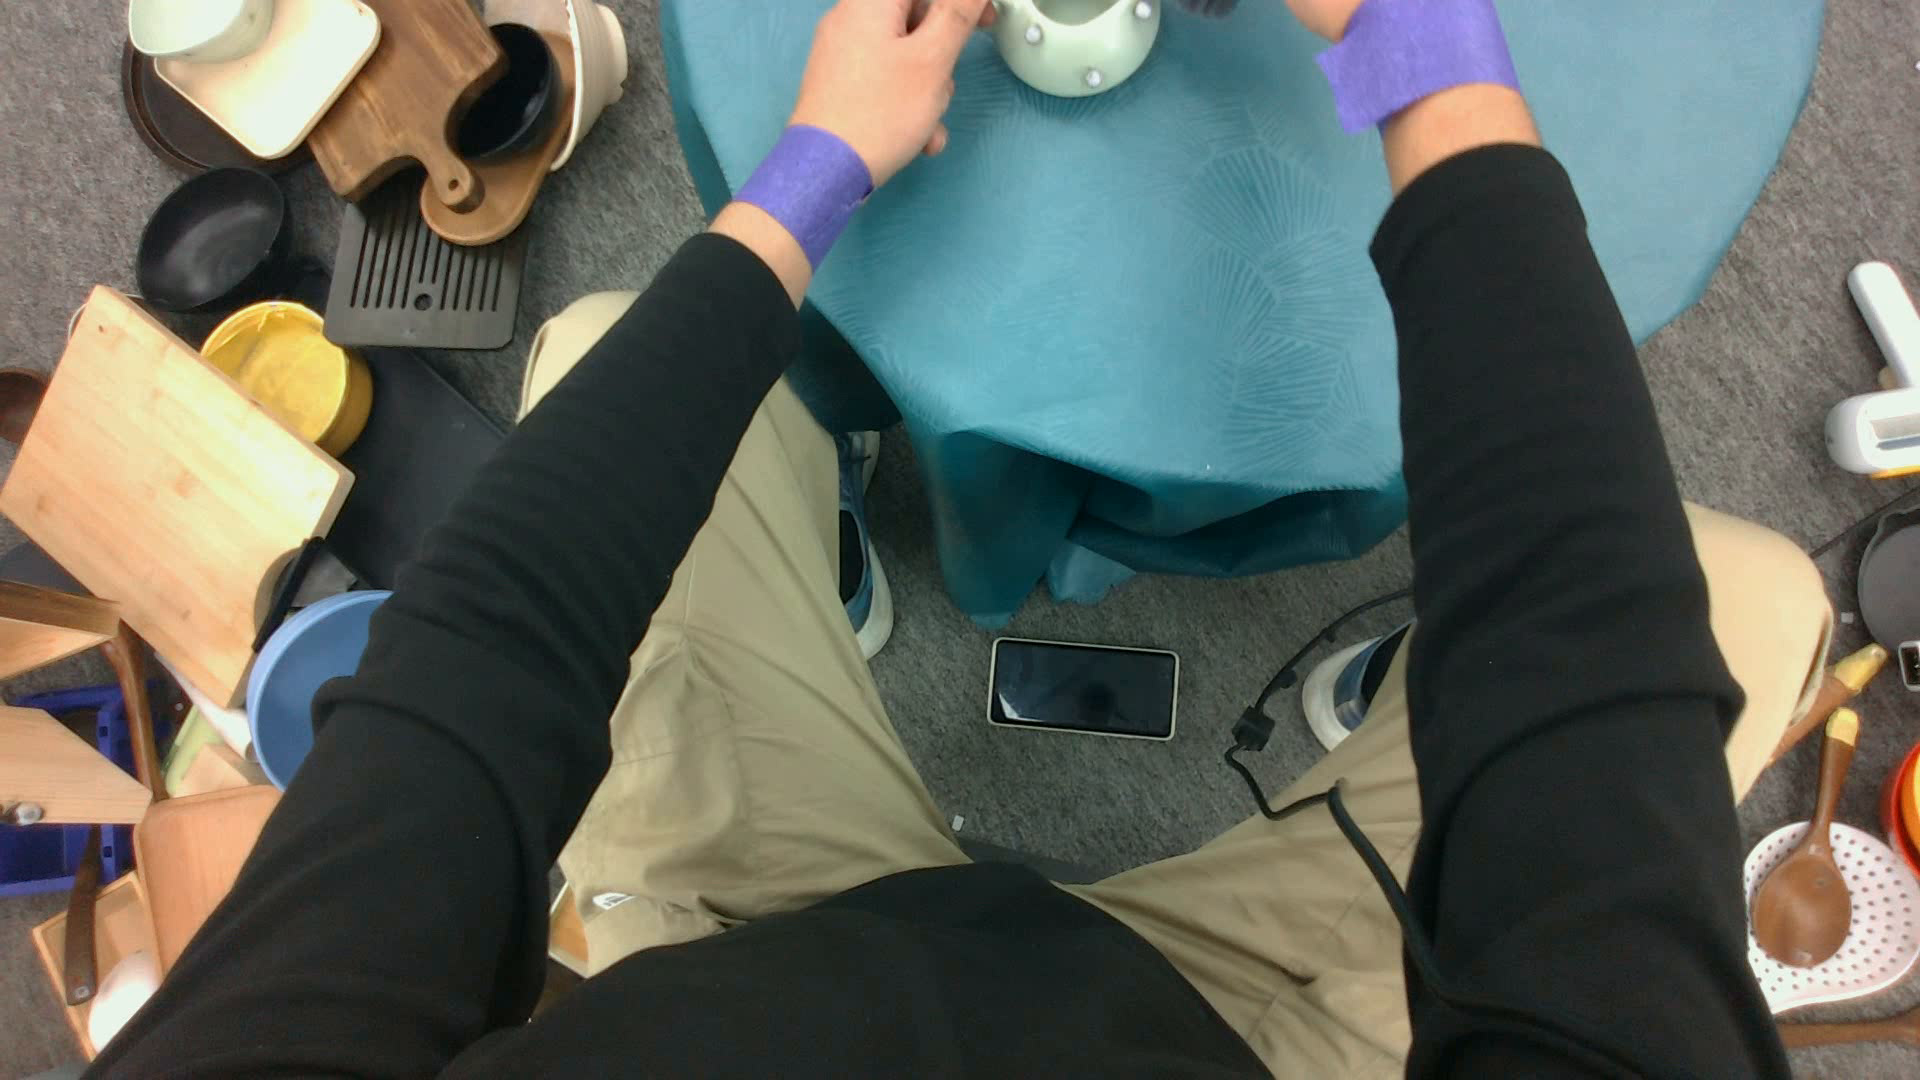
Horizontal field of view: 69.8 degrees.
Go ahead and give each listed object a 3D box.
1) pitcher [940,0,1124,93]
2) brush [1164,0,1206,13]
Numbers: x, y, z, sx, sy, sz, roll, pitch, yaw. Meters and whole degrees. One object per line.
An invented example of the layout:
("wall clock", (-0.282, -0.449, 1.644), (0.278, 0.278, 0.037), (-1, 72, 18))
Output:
("pitcher", (0.024, -0.272, 0.690), (0.108, 0.060, 0.086), (7, 95, -12))
("brush", (0.114, -0.312, 0.648), (0.050, 0.072, 0.099), (2, 69, -33))
